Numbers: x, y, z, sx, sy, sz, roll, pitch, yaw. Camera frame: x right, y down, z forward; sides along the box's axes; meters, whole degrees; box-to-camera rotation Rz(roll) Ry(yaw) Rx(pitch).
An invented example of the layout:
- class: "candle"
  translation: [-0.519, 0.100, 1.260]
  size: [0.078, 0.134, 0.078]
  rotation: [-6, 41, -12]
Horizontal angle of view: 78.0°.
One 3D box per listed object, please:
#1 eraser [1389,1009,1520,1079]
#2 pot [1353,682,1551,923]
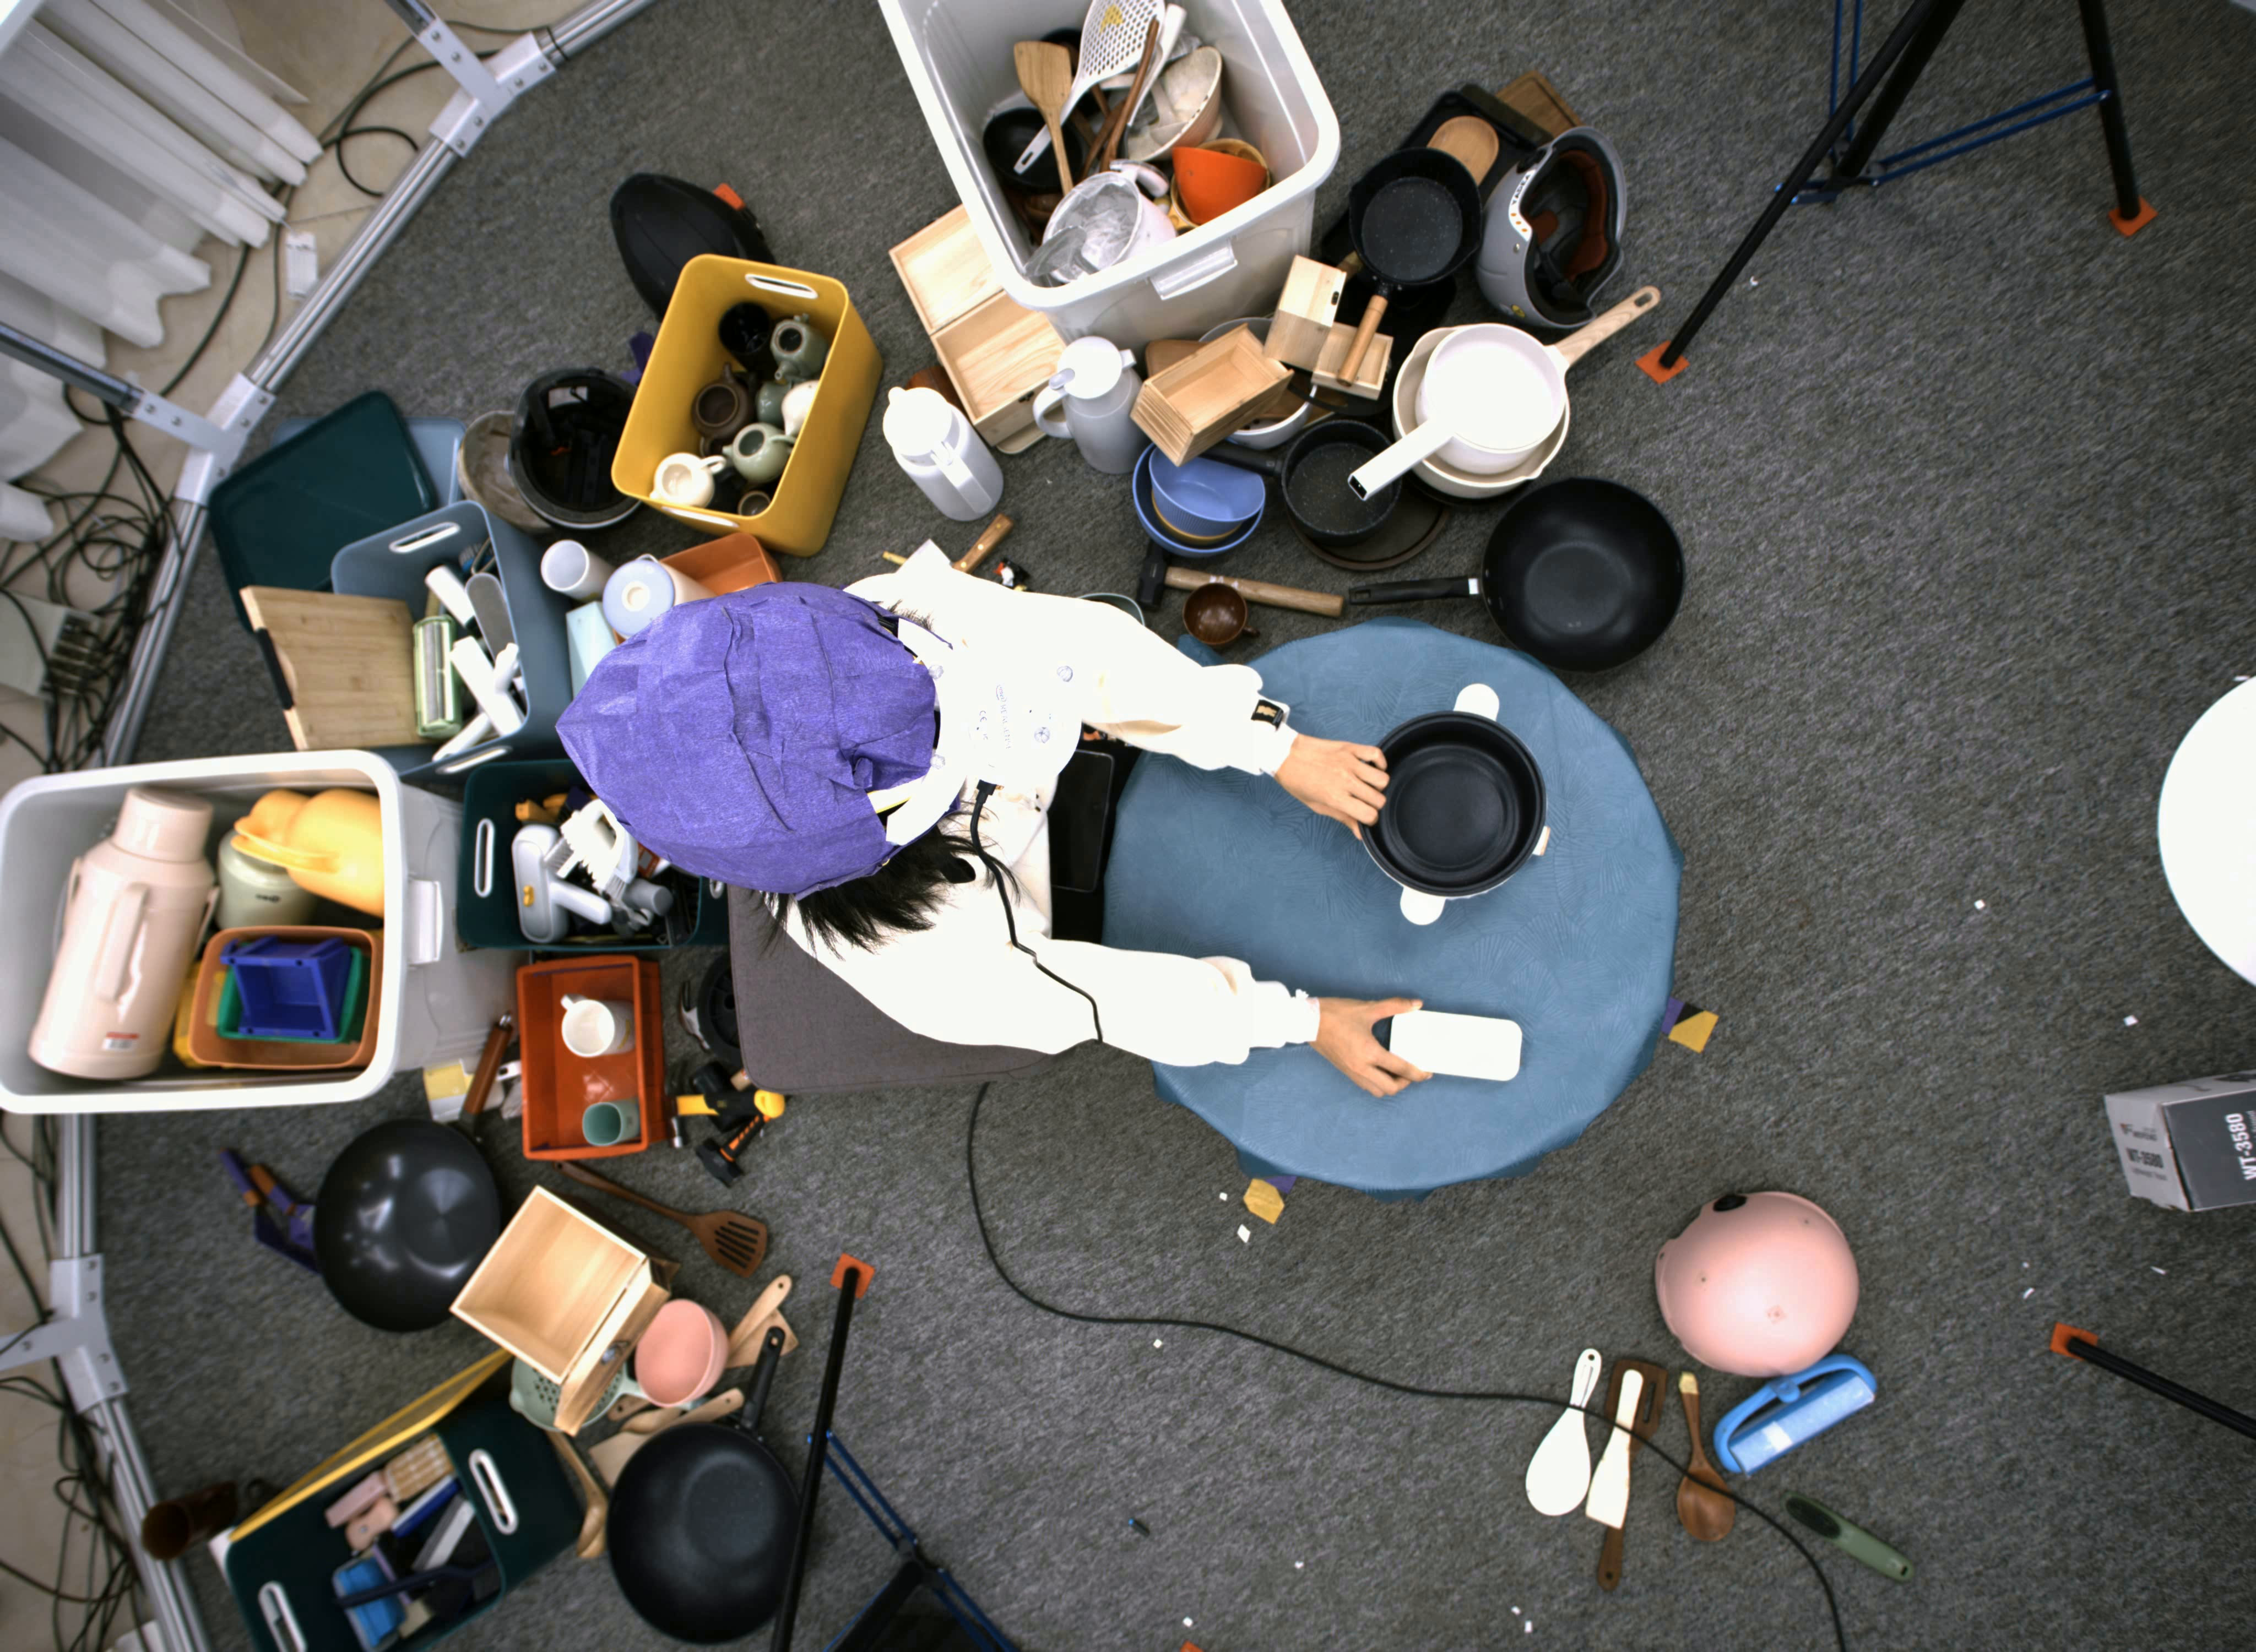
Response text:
- class: "eraser"
  translation: [0.336, 0.222, 1.424]
  size: [0.131, 0.034, 0.063]
  rotation: [6, 85, 10]
- class: "pot"
  translation: [0.328, -0.017, 1.381]
  size: [0.191, 0.142, 0.240]
  rotation: [15, 90, 17]
